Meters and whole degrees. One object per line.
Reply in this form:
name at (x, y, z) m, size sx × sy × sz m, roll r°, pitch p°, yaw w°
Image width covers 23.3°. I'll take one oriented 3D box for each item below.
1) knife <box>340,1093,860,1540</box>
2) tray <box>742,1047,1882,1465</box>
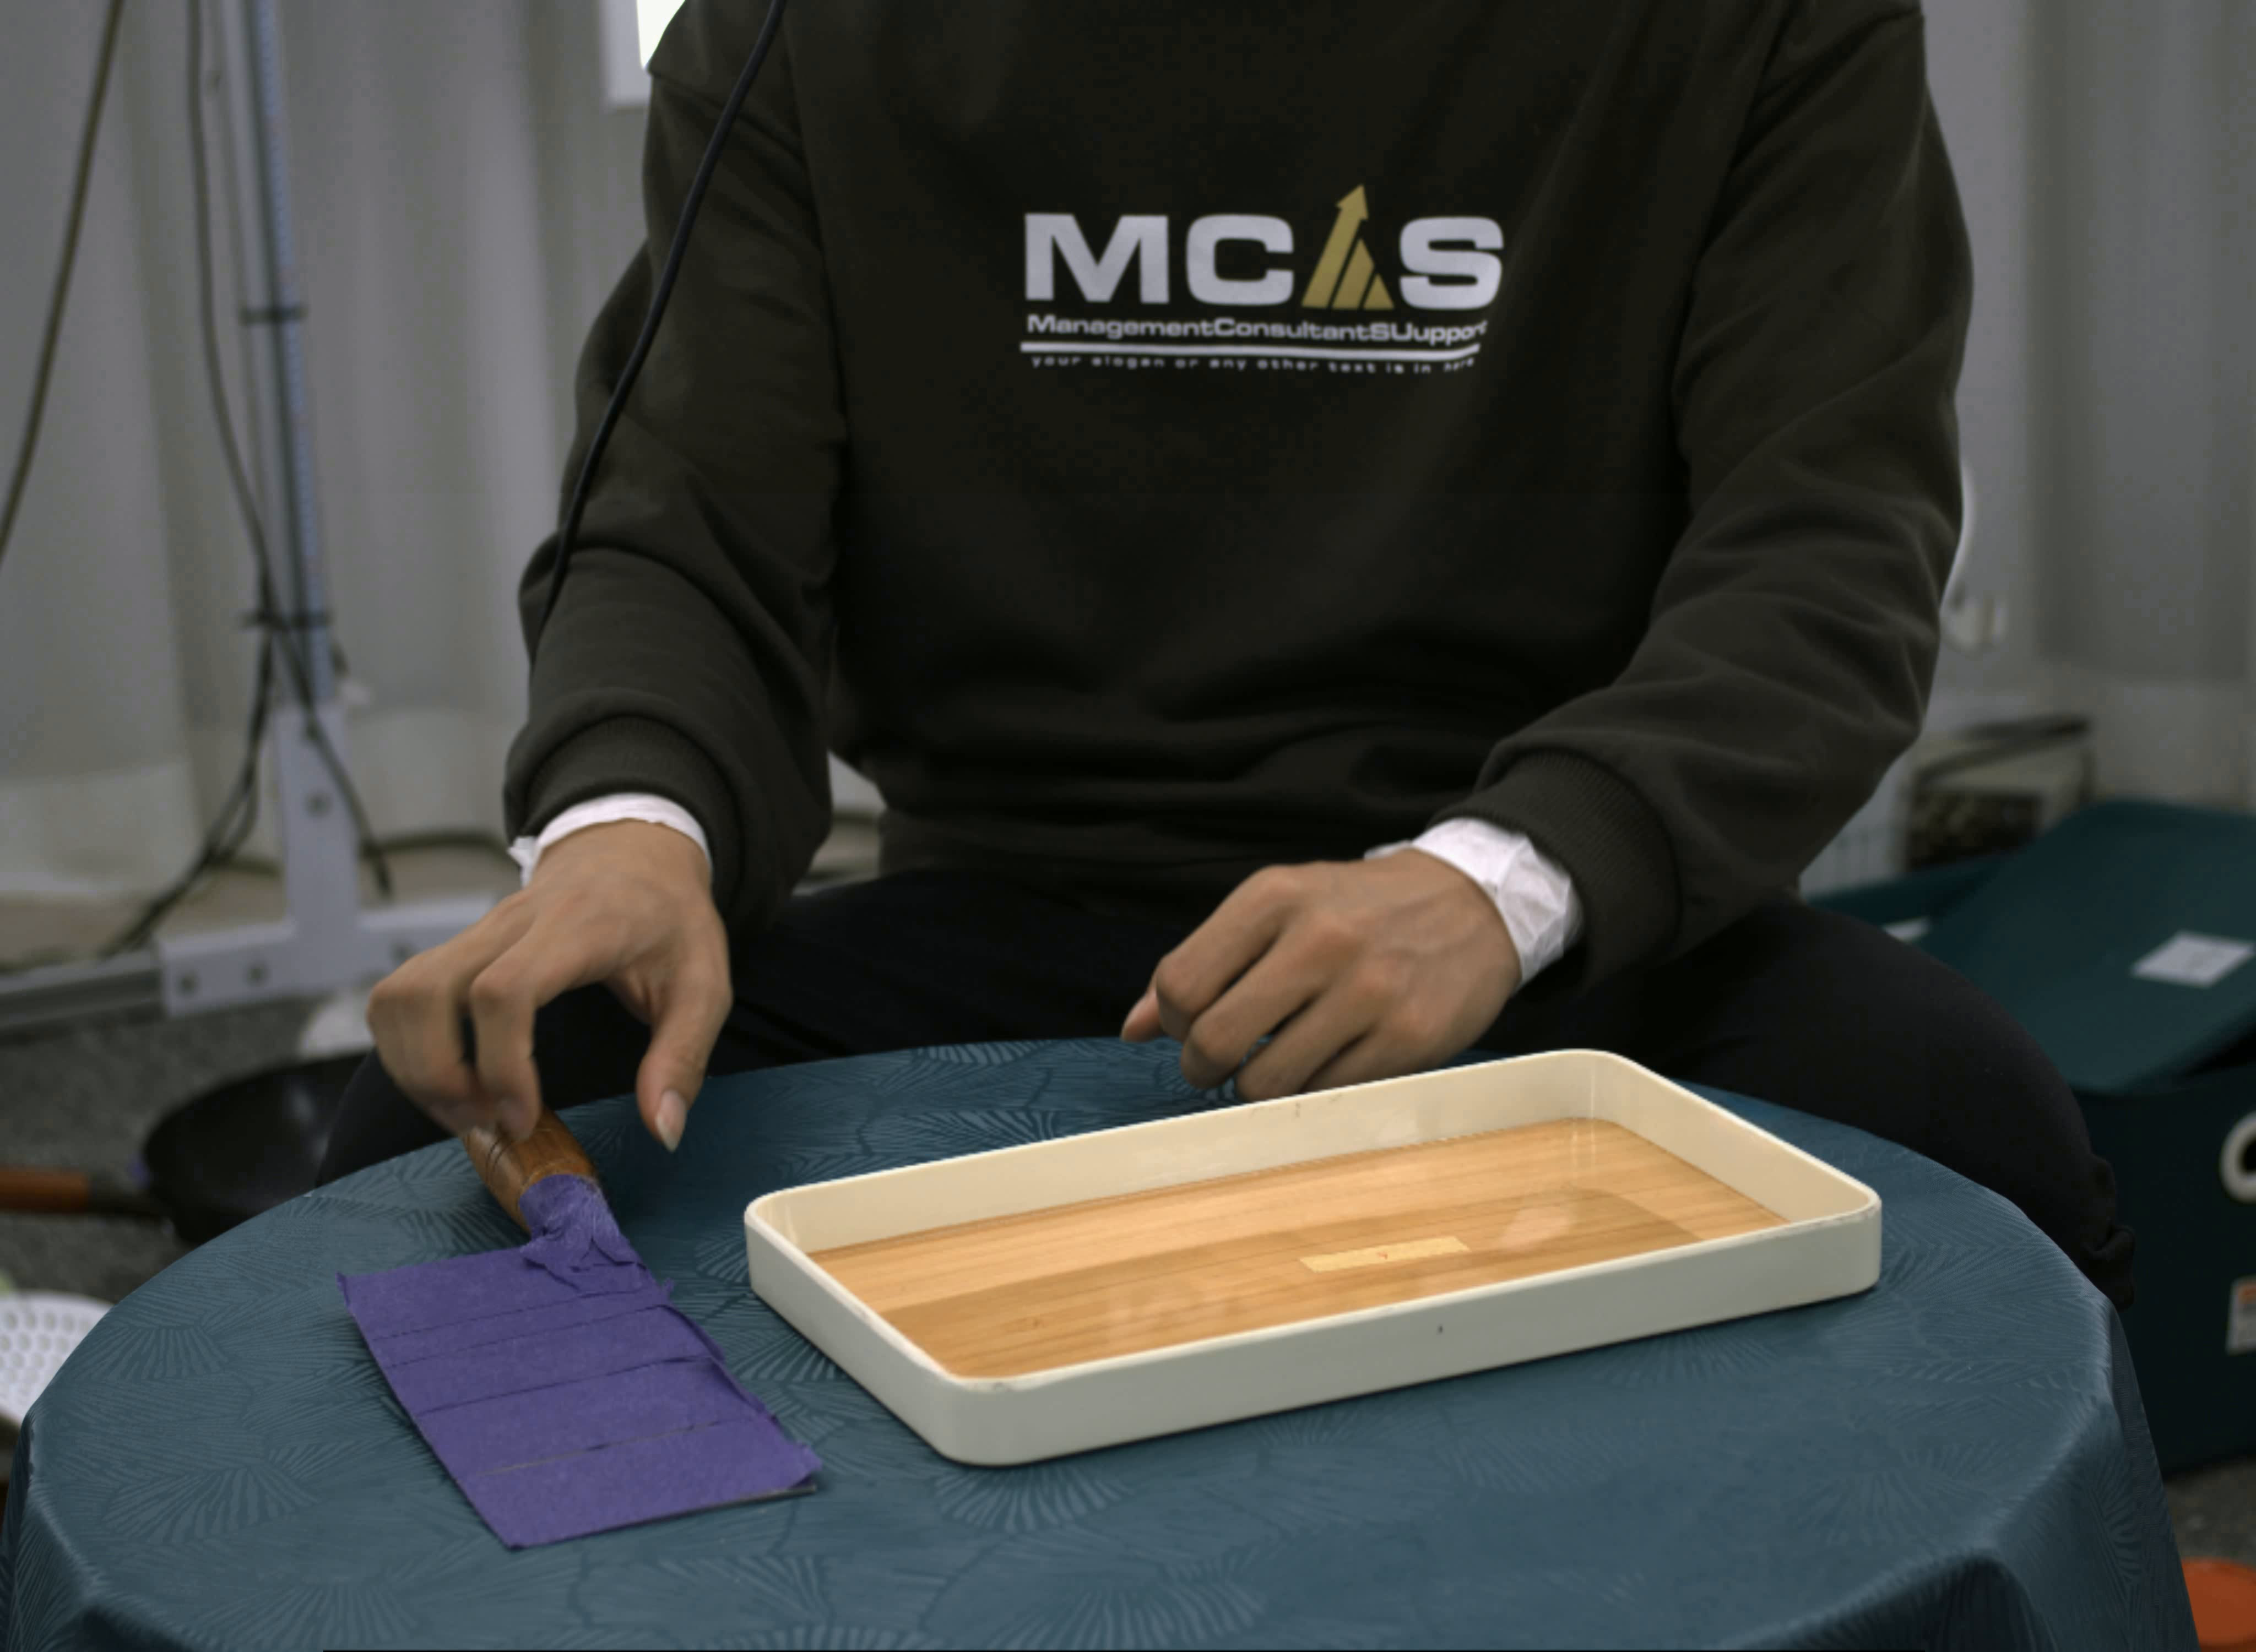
knife at (-0.177, 0.140, 1.604) m, size 0.103 × 0.032 × 0.318 m, roll -8°, pitch 16°, yaw -20°
tray at (0.053, 0.123, 1.622) m, size 0.299 × 0.027 × 0.193 m, roll -9°, pitch 16°, yaw -22°
